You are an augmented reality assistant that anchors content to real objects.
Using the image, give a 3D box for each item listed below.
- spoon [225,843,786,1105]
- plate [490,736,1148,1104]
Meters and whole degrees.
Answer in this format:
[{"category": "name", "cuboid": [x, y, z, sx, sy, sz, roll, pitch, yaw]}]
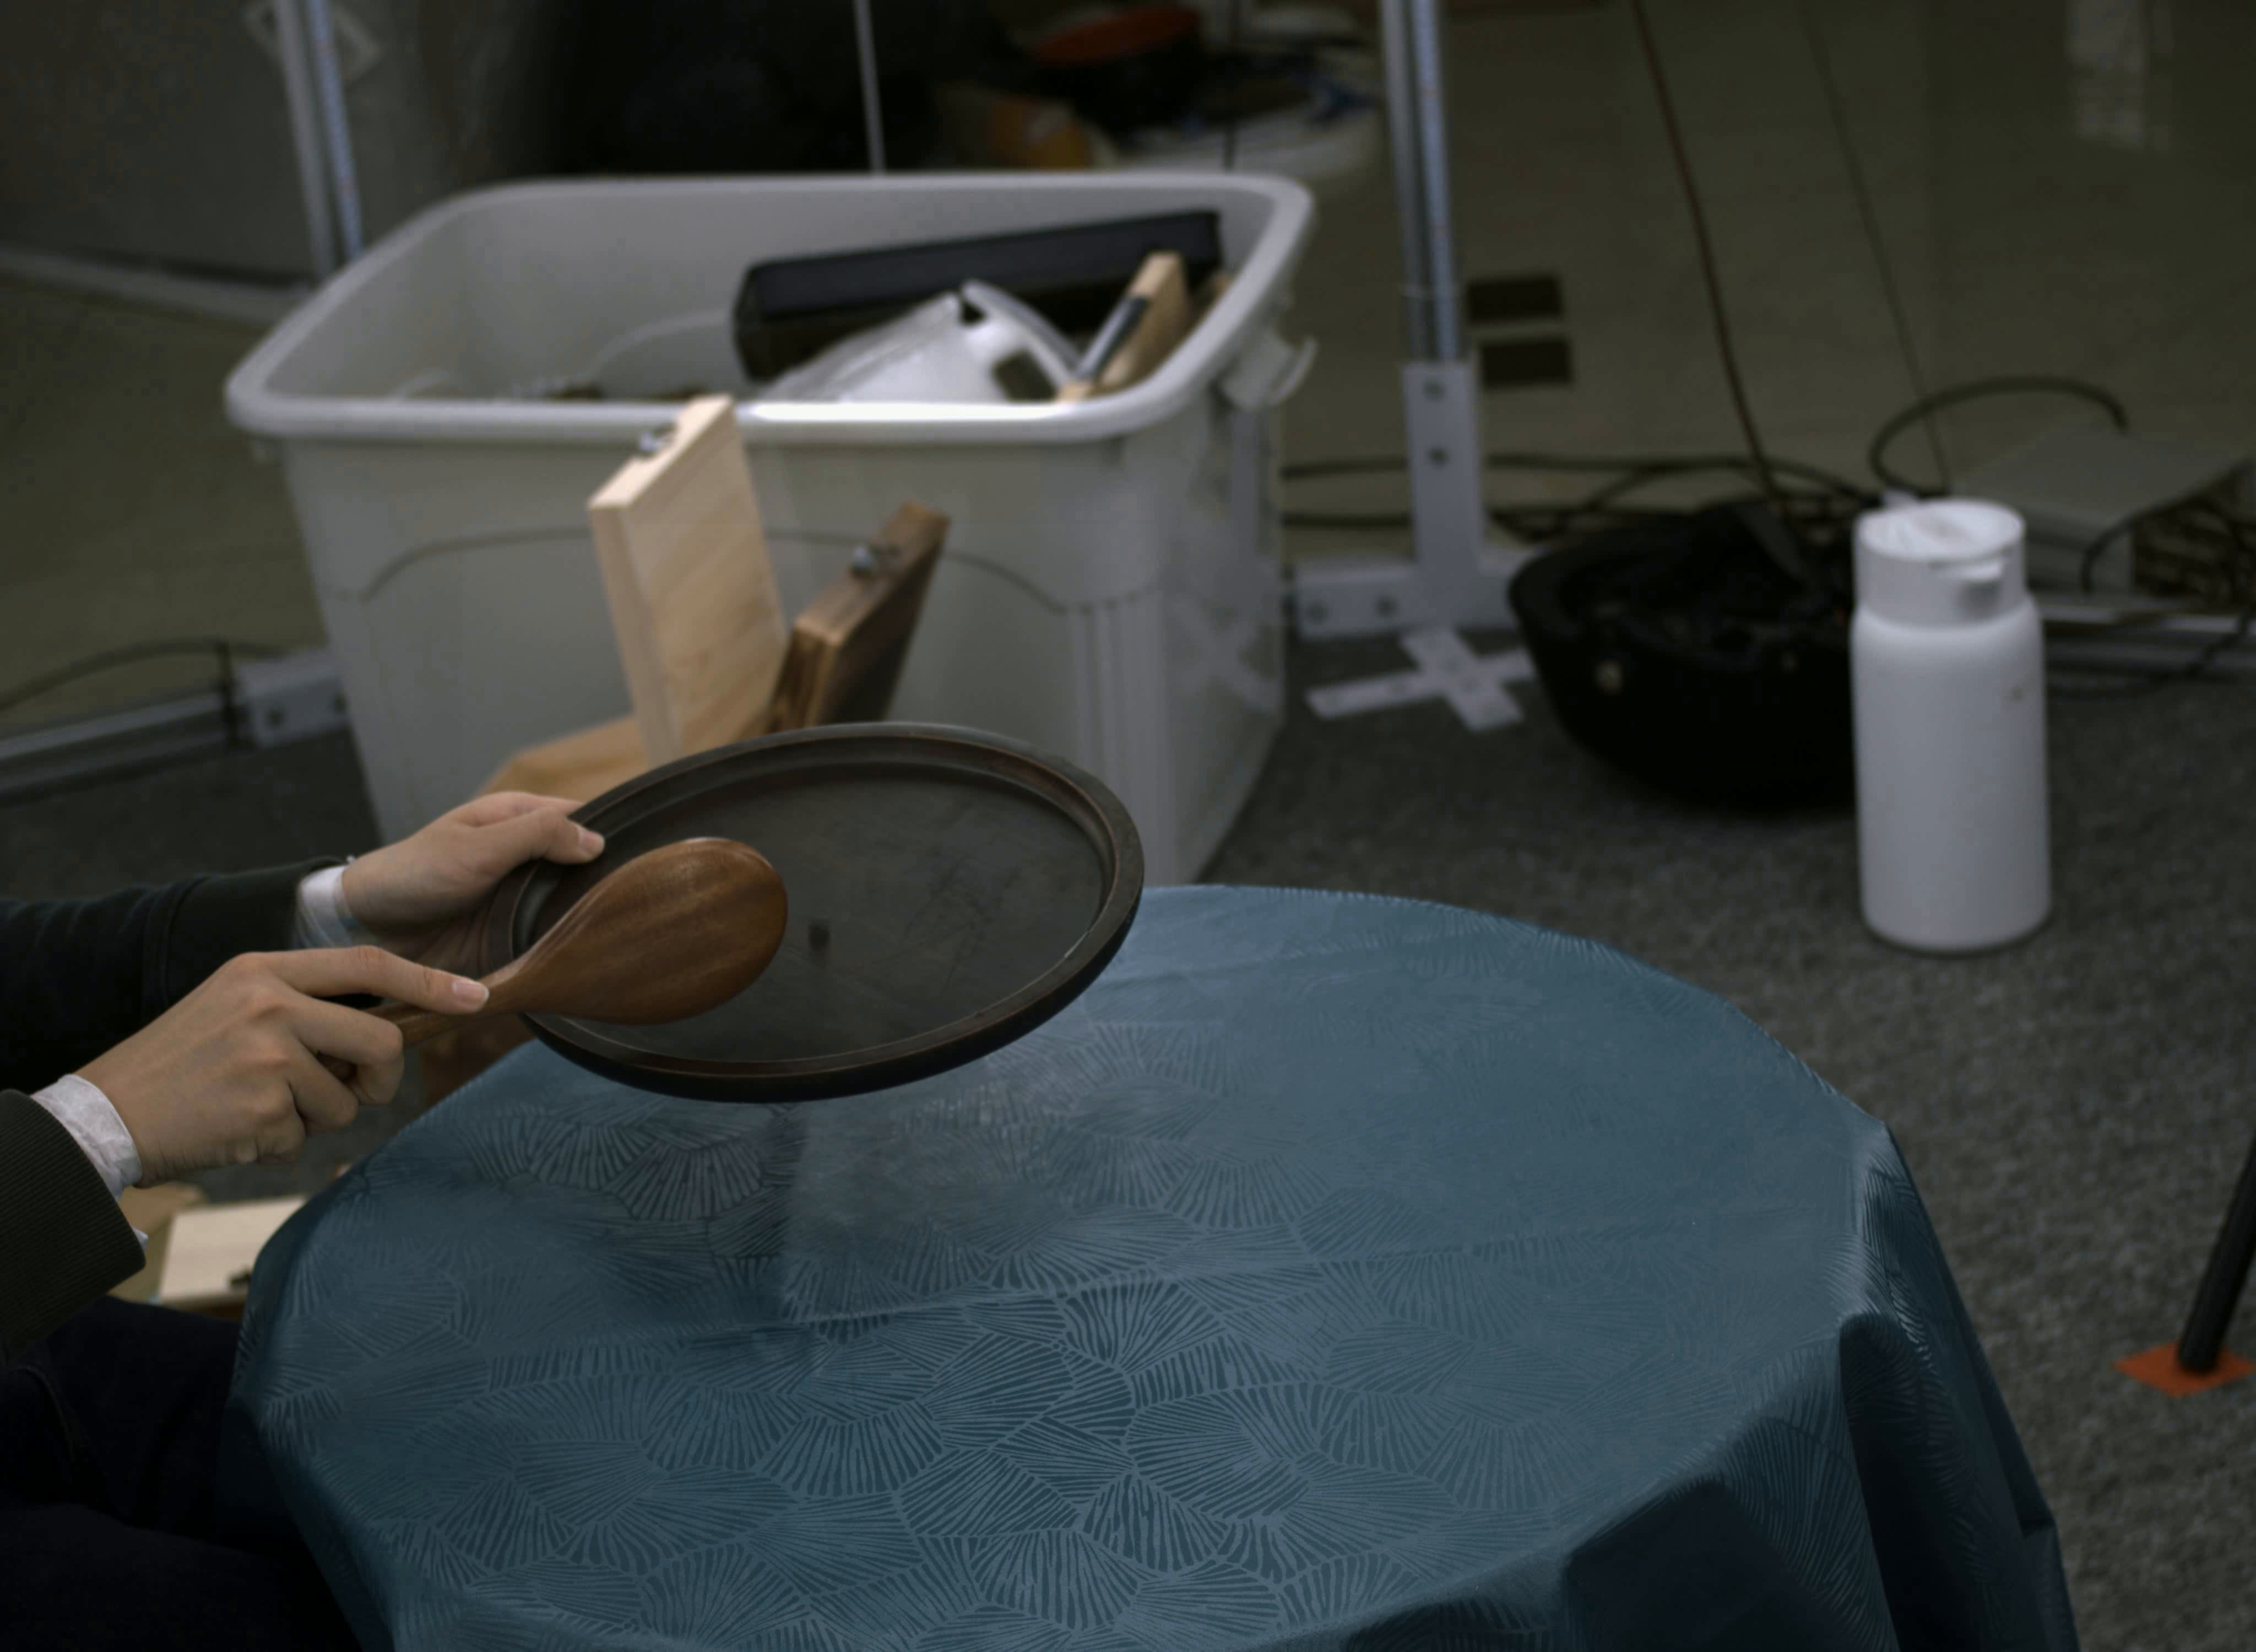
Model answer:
[{"category": "spoon", "cuboid": [-0.222, 0.059, 2.045, 0.215, 0.077, 0.017, -17, 39, -17]}, {"category": "plate", "cuboid": [-0.117, 0.034, 2.162, 0.254, 0.029, 0.250, -4, 31, 3]}]
